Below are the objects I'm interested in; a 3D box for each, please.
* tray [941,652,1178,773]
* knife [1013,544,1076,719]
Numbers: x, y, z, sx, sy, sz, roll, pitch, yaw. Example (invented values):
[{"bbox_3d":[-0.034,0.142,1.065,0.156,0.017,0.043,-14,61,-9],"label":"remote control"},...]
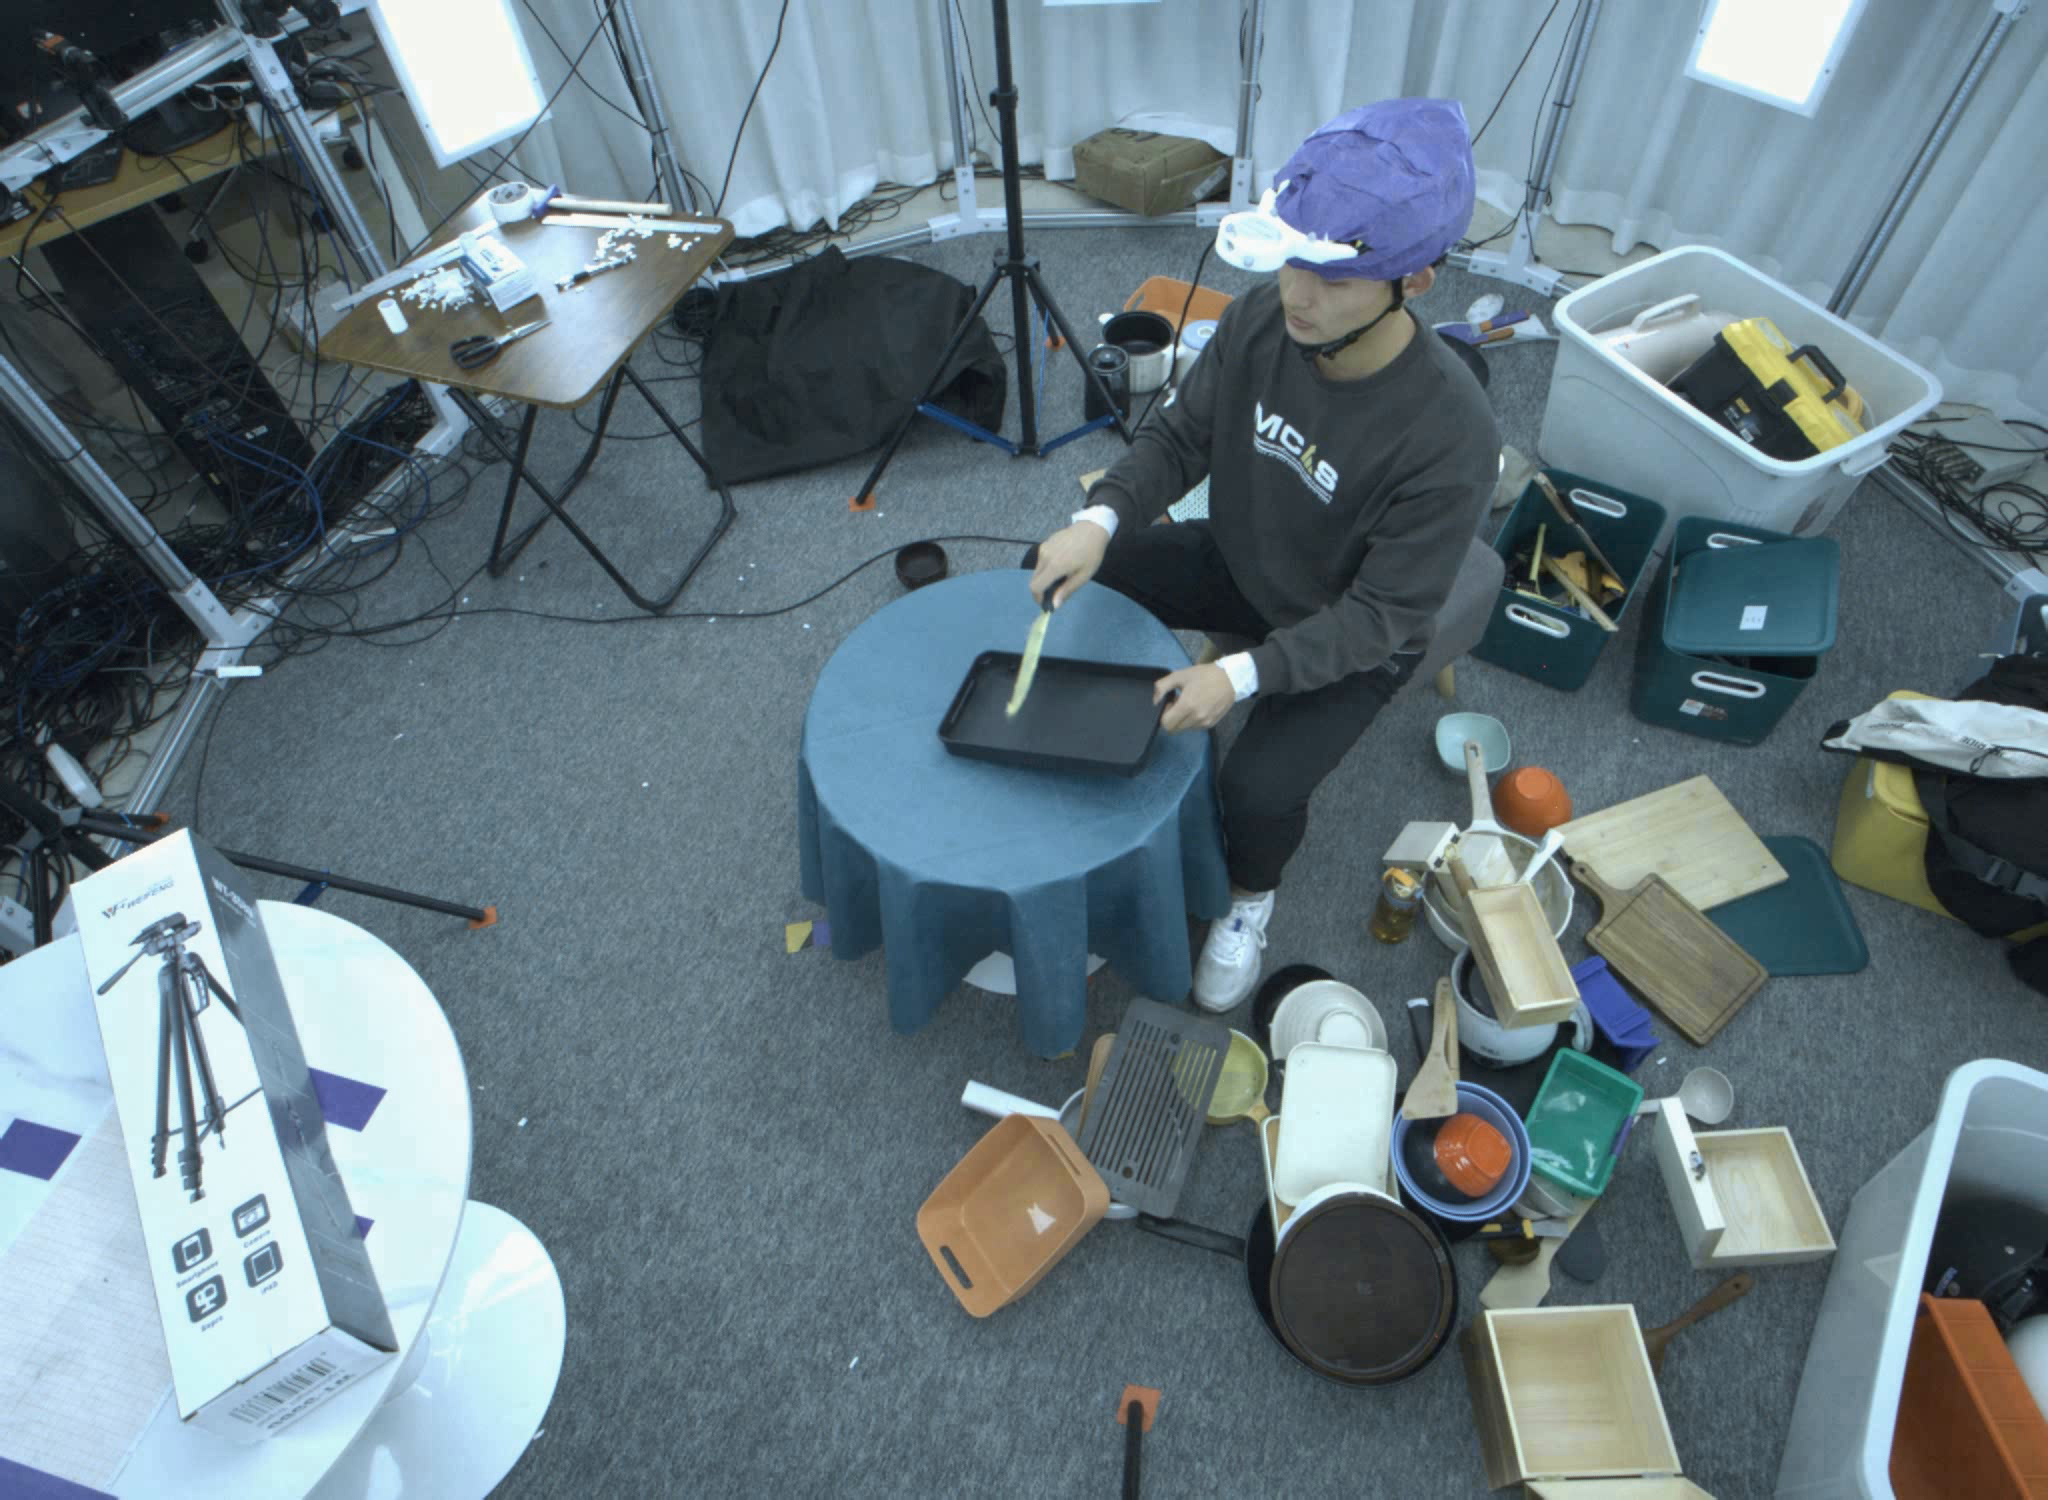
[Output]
[{"bbox_3d":[0.052,-0.057,1.769,0.313,0.037,0.184,6,51,23],"label":"tray"},{"bbox_3d":[0.026,-0.172,1.769,0.027,0.080,0.288,24,66,-17],"label":"knife"}]
